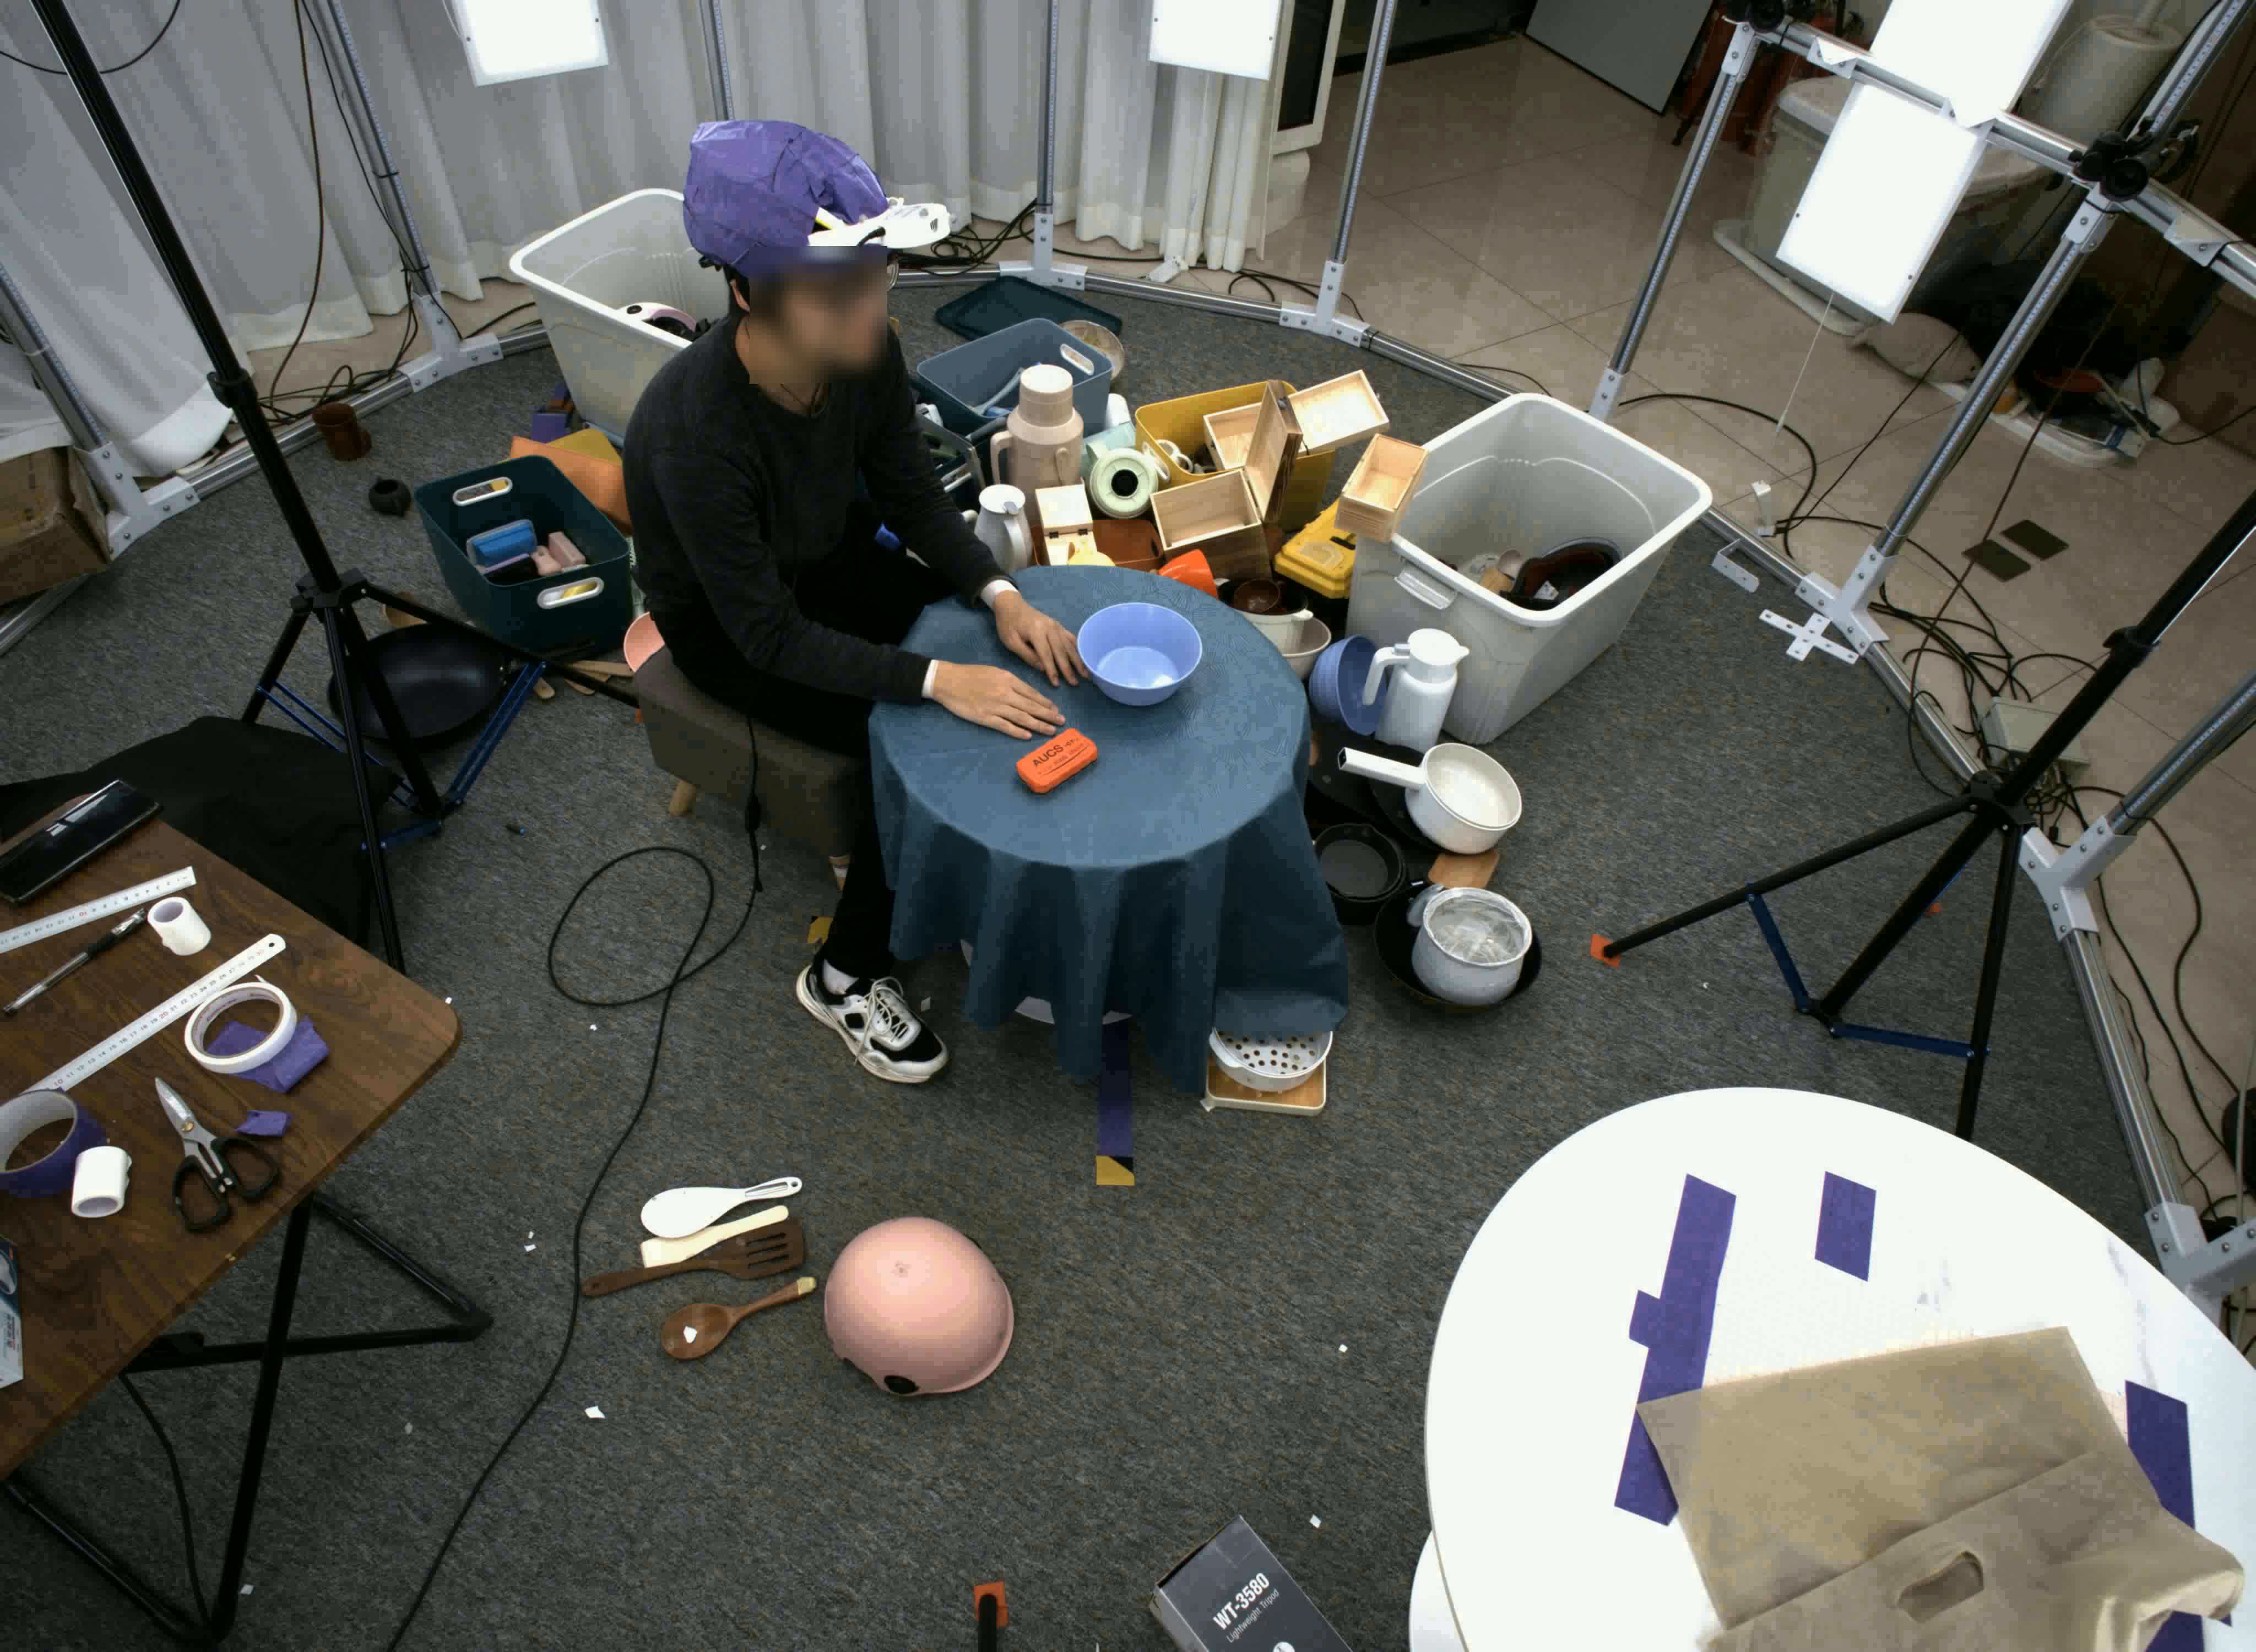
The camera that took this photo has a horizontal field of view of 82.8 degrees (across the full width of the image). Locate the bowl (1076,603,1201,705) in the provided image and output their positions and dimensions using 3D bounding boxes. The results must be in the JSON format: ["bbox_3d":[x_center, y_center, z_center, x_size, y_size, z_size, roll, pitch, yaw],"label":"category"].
[{"bbox_3d":[0.013,-0.236,1.831,0.176,0.068,0.180,2,49,-2],"label":"bowl"}]

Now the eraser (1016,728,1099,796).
[{"bbox_3d":[-0.095,-0.086,1.723,0.109,0.022,0.060,-35,62,-28],"label":"eraser"}]
